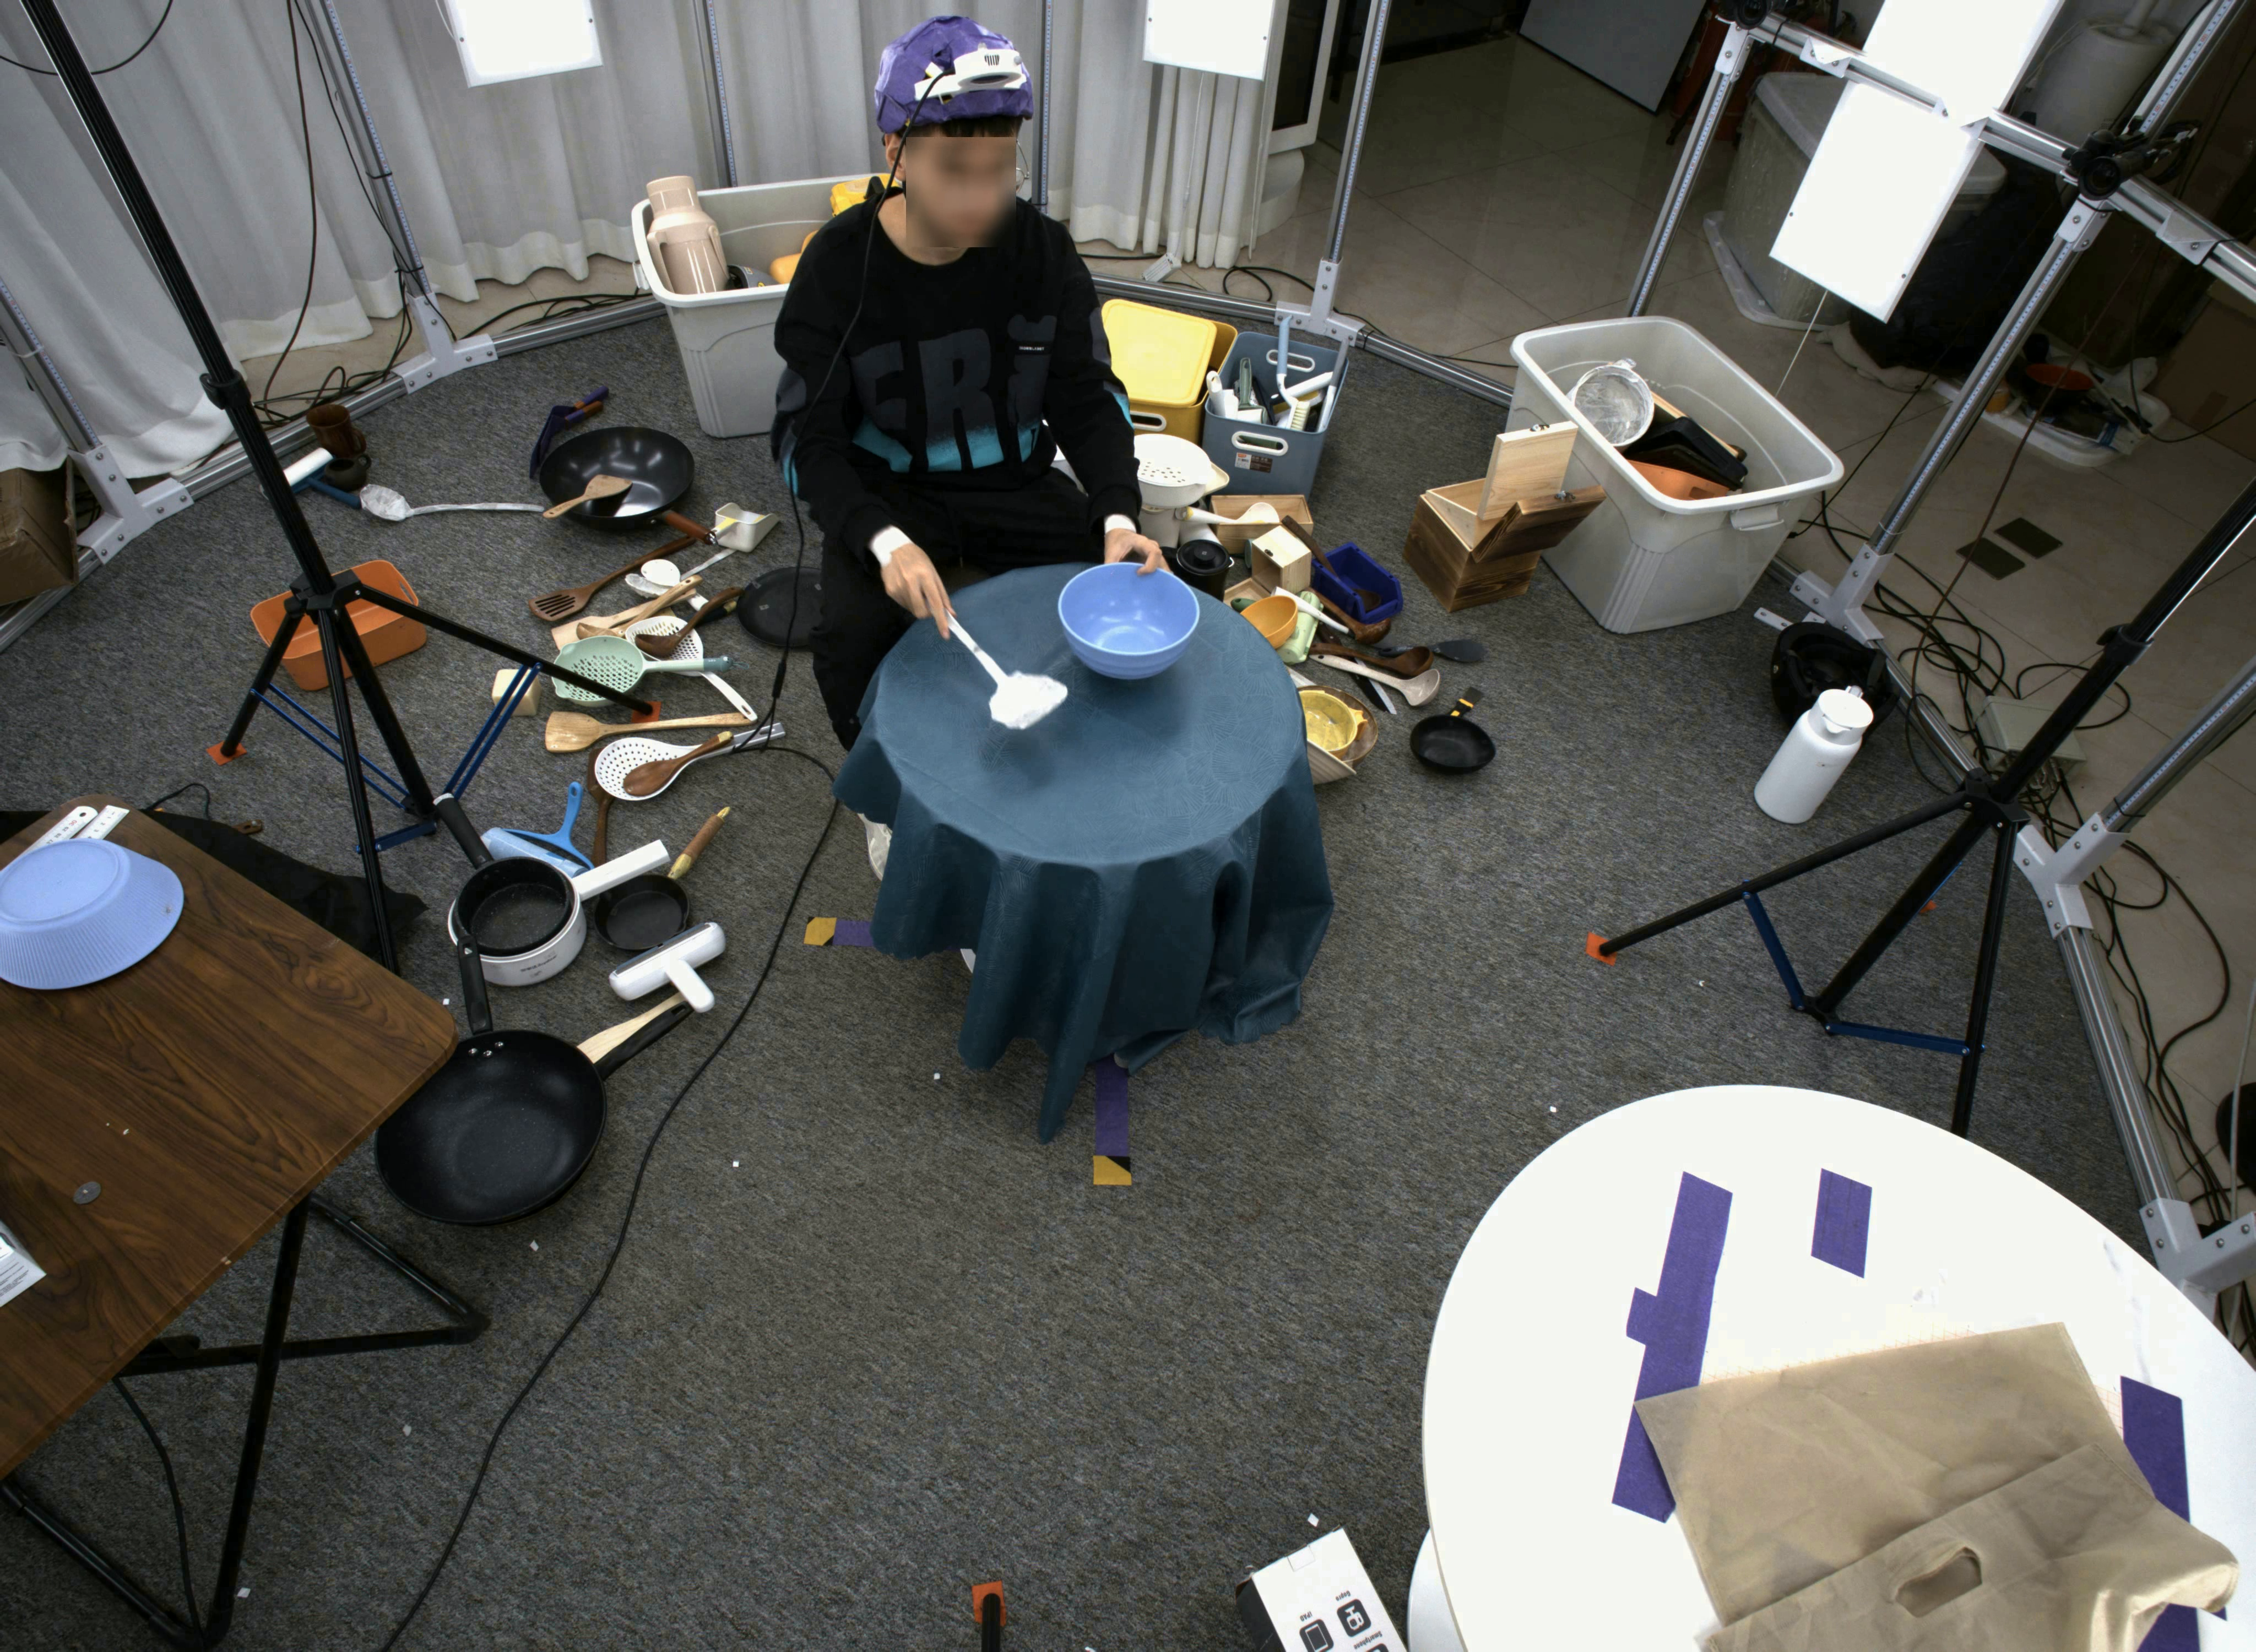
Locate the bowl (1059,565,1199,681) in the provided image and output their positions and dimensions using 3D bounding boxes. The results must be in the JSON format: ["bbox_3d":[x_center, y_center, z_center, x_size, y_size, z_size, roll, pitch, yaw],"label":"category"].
[{"bbox_3d":[0.000,-0.273,1.828,0.196,0.093,0.201,1,48,-1],"label":"bowl"}]

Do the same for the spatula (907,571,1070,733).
[{"bbox_3d":[-0.214,-0.254,1.785,0.099,0.044,0.371,-35,63,-14],"label":"spatula"}]
